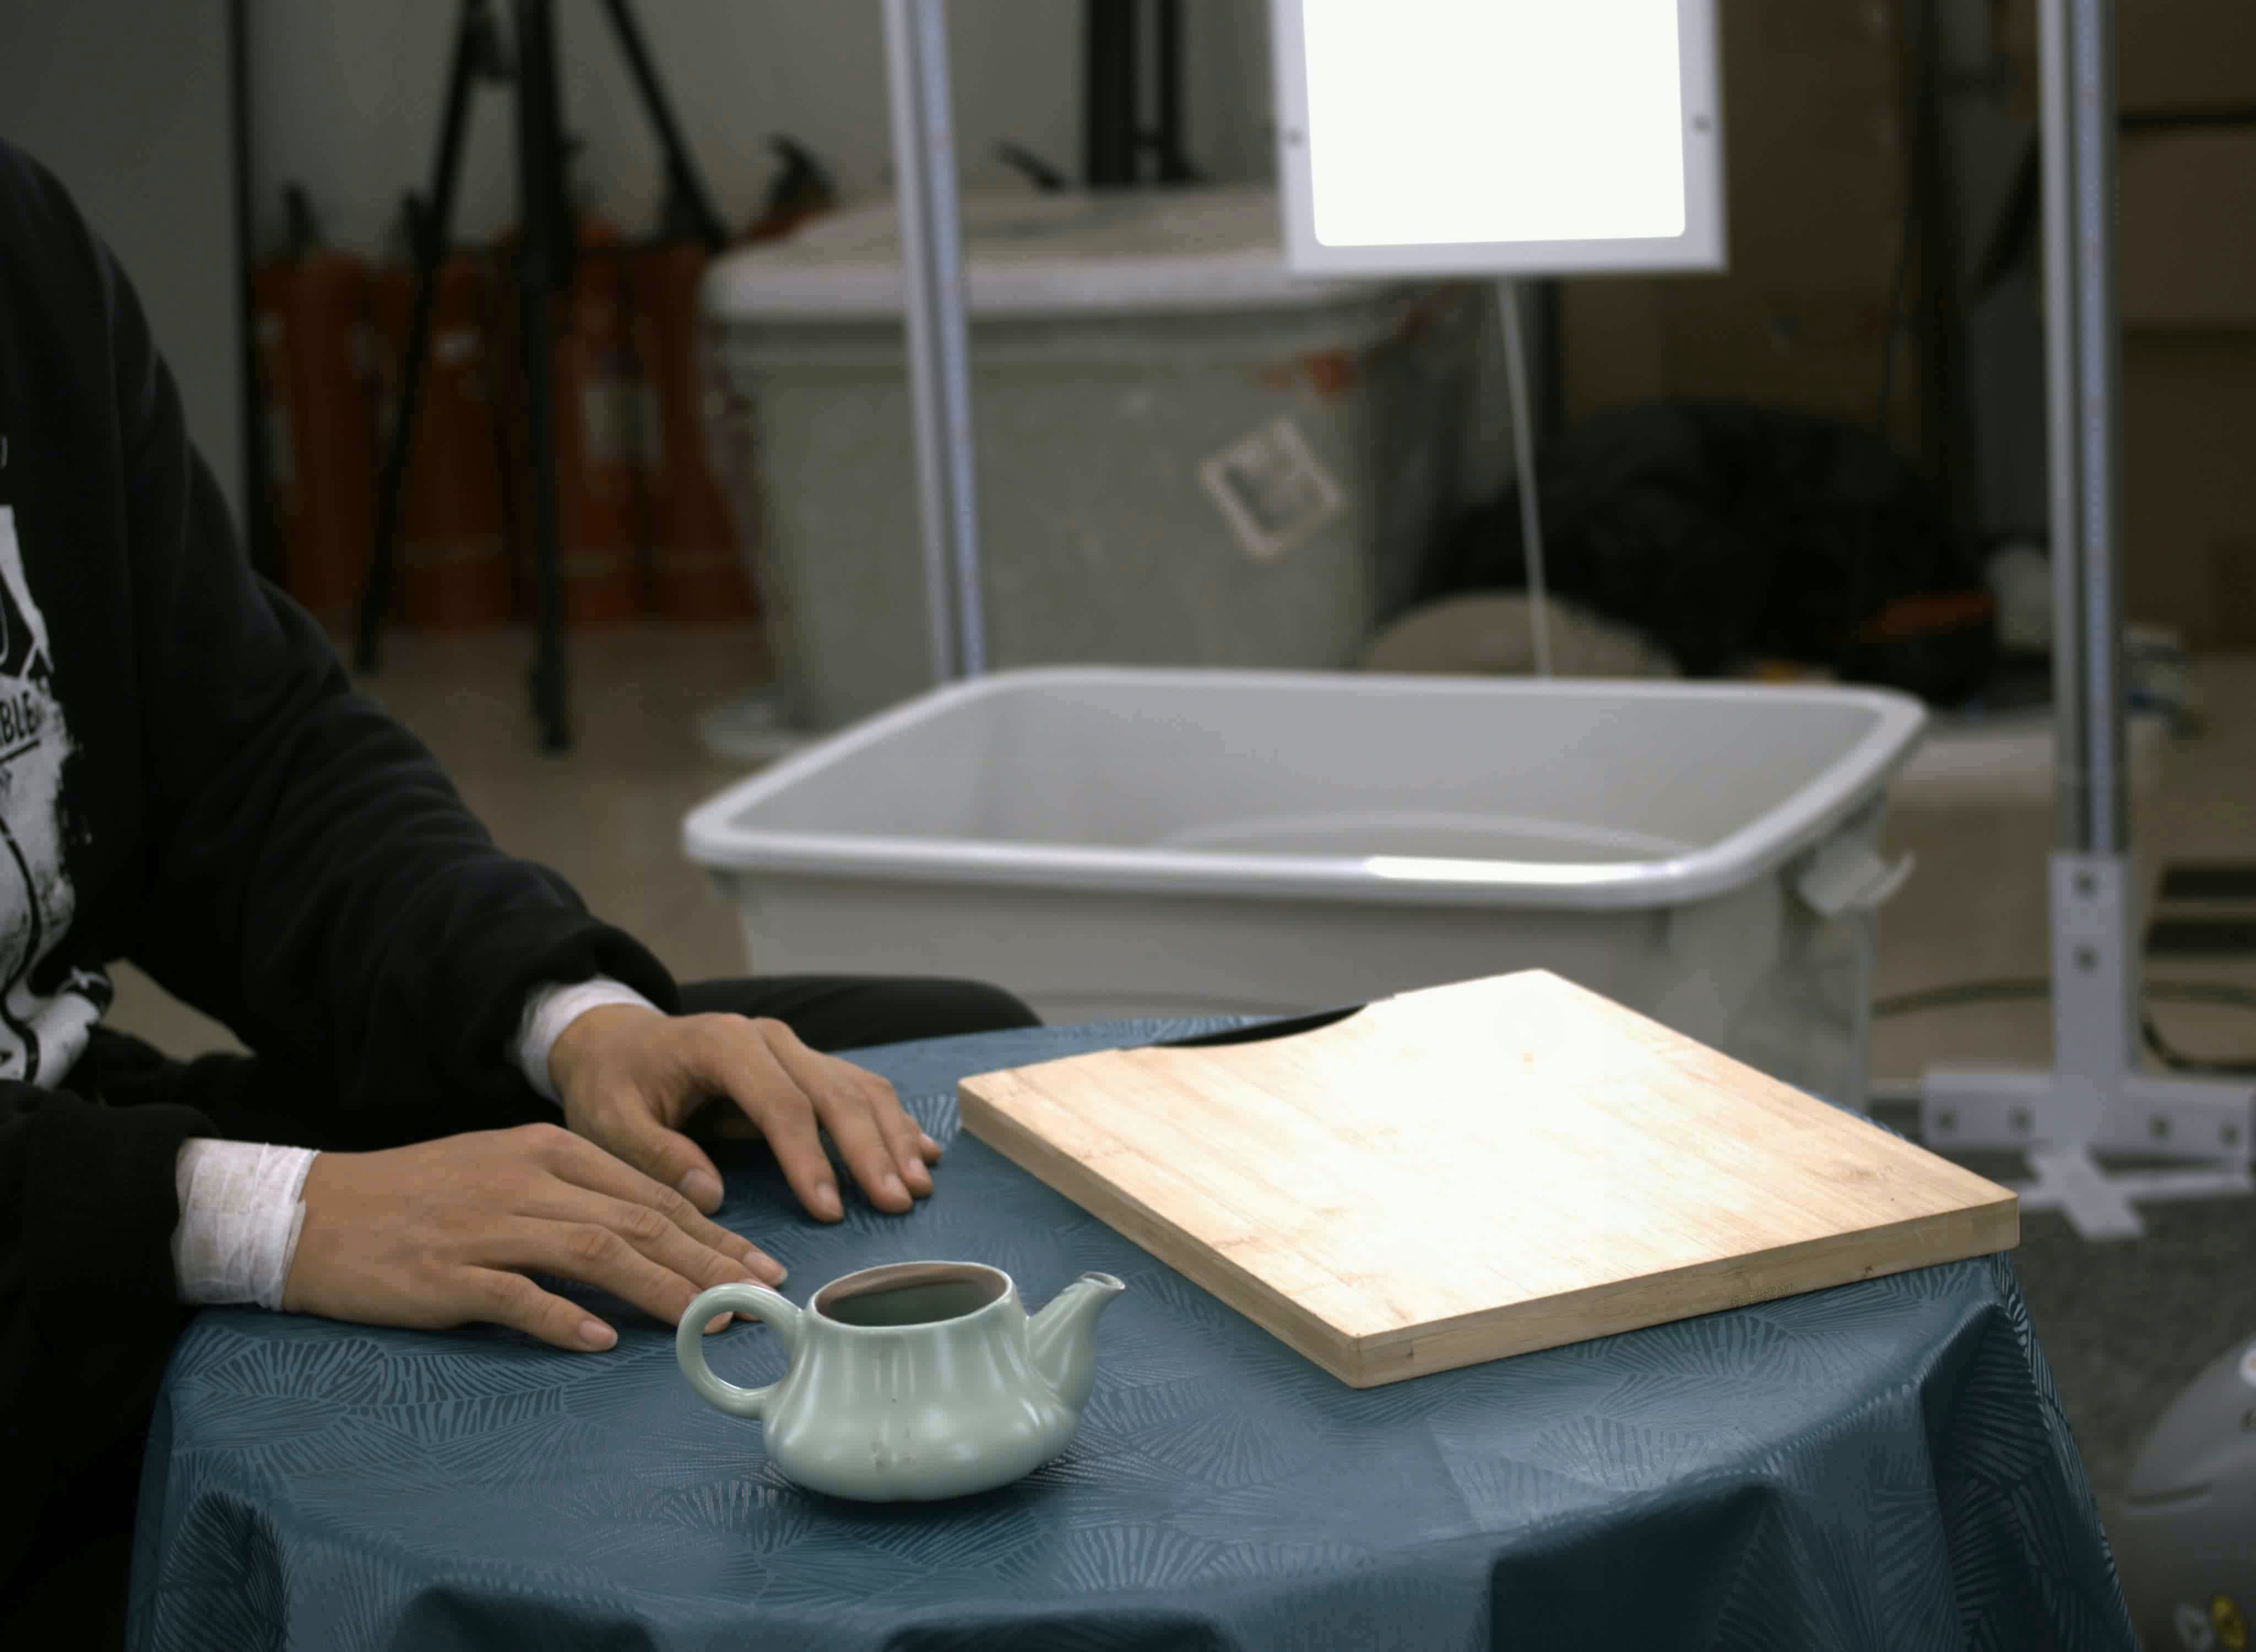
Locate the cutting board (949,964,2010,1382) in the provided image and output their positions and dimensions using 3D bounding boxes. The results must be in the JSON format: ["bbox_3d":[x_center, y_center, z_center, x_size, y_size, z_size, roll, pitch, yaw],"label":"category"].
[{"bbox_3d":[0.111,0.113,1.880,0.246,0.023,0.354,-10,15,-21],"label":"cutting board"}]

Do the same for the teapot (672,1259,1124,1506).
[{"bbox_3d":[-0.067,0.165,1.642,0.137,0.061,0.095,-3,15,7],"label":"teapot"}]
